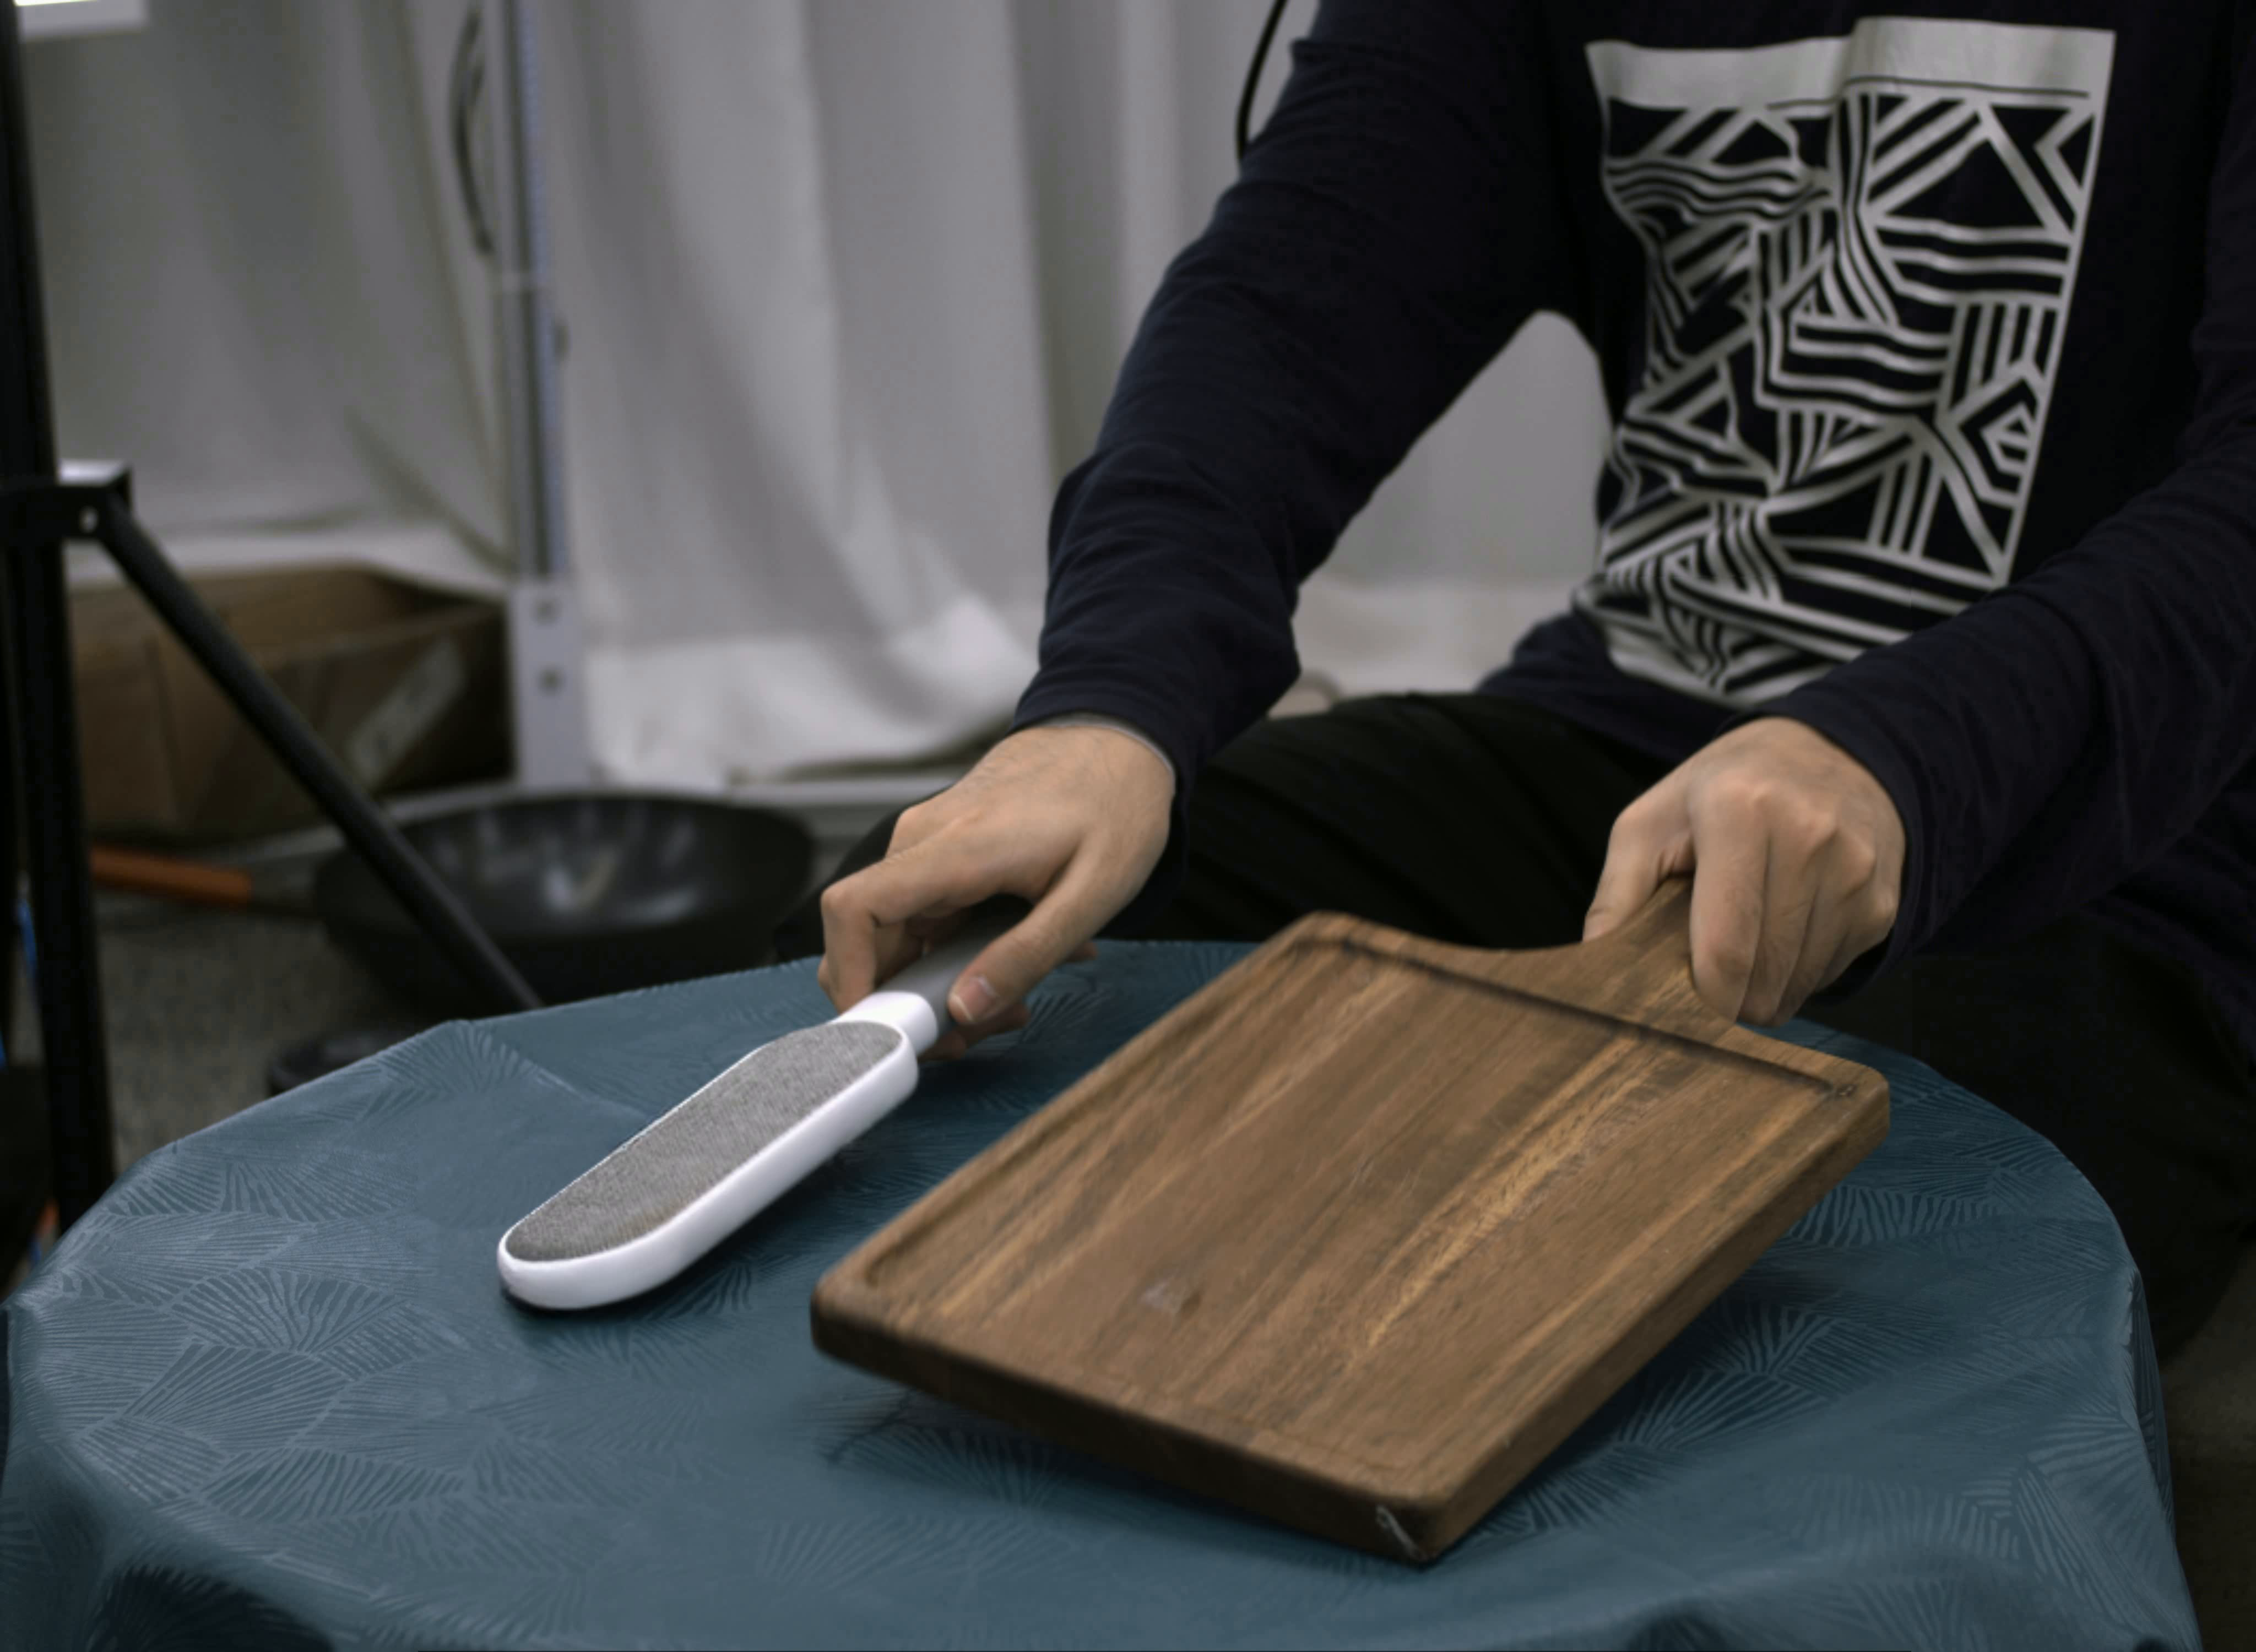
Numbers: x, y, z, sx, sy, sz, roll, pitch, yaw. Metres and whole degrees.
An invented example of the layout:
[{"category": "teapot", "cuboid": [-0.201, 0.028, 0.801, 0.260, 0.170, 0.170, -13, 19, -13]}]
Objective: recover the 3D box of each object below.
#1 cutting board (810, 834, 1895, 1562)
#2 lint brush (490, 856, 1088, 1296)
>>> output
[{"category": "cutting board", "cuboid": [0.093, 0.082, 1.459, 0.205, 0.023, 0.346, 17, 33, 32]}, {"category": "lint brush", "cuboid": [-0.091, 0.071, 1.599, 0.061, 0.021, 0.304, -11, 15, 34]}]
